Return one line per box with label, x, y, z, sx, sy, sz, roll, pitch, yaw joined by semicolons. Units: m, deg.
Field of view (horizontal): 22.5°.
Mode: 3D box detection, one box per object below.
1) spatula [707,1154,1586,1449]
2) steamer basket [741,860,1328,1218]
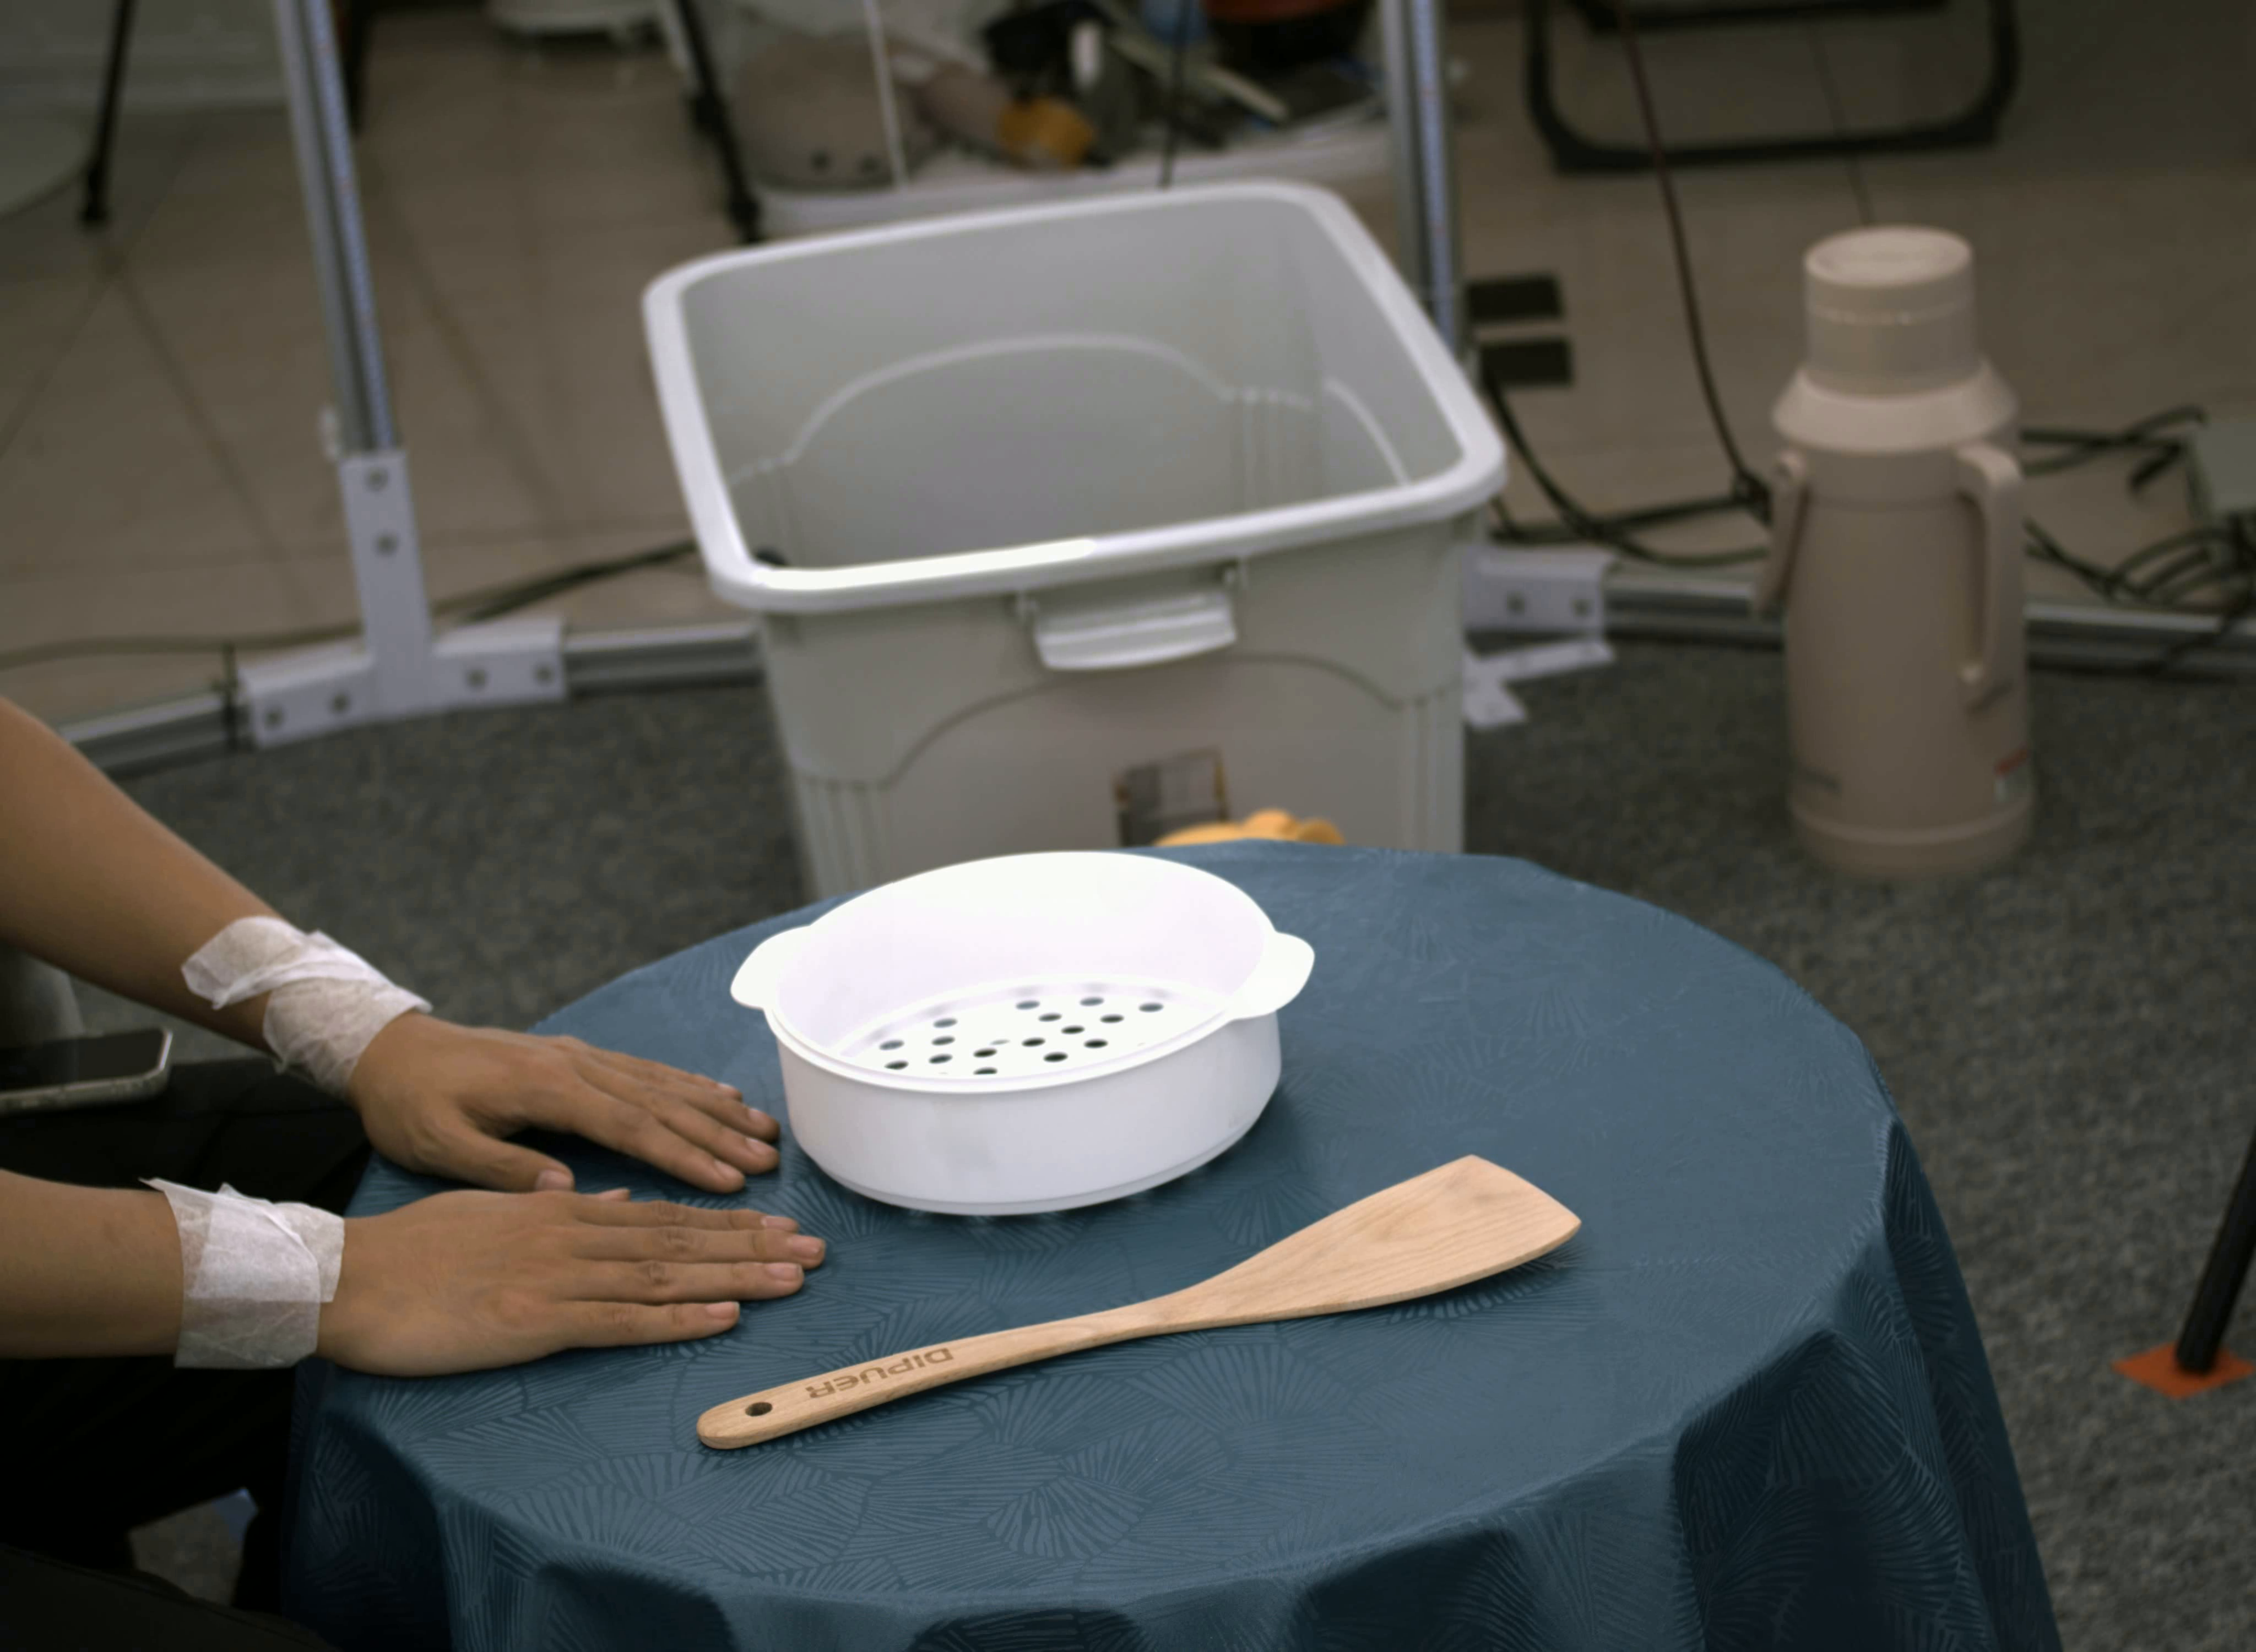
spatula;0.004;0.174;2.054;0.326;0.017;0.079;-14;25;-14
steamer basket;-0.034;0.082;2.202;0.230;0.070;0.199;1;24;16
